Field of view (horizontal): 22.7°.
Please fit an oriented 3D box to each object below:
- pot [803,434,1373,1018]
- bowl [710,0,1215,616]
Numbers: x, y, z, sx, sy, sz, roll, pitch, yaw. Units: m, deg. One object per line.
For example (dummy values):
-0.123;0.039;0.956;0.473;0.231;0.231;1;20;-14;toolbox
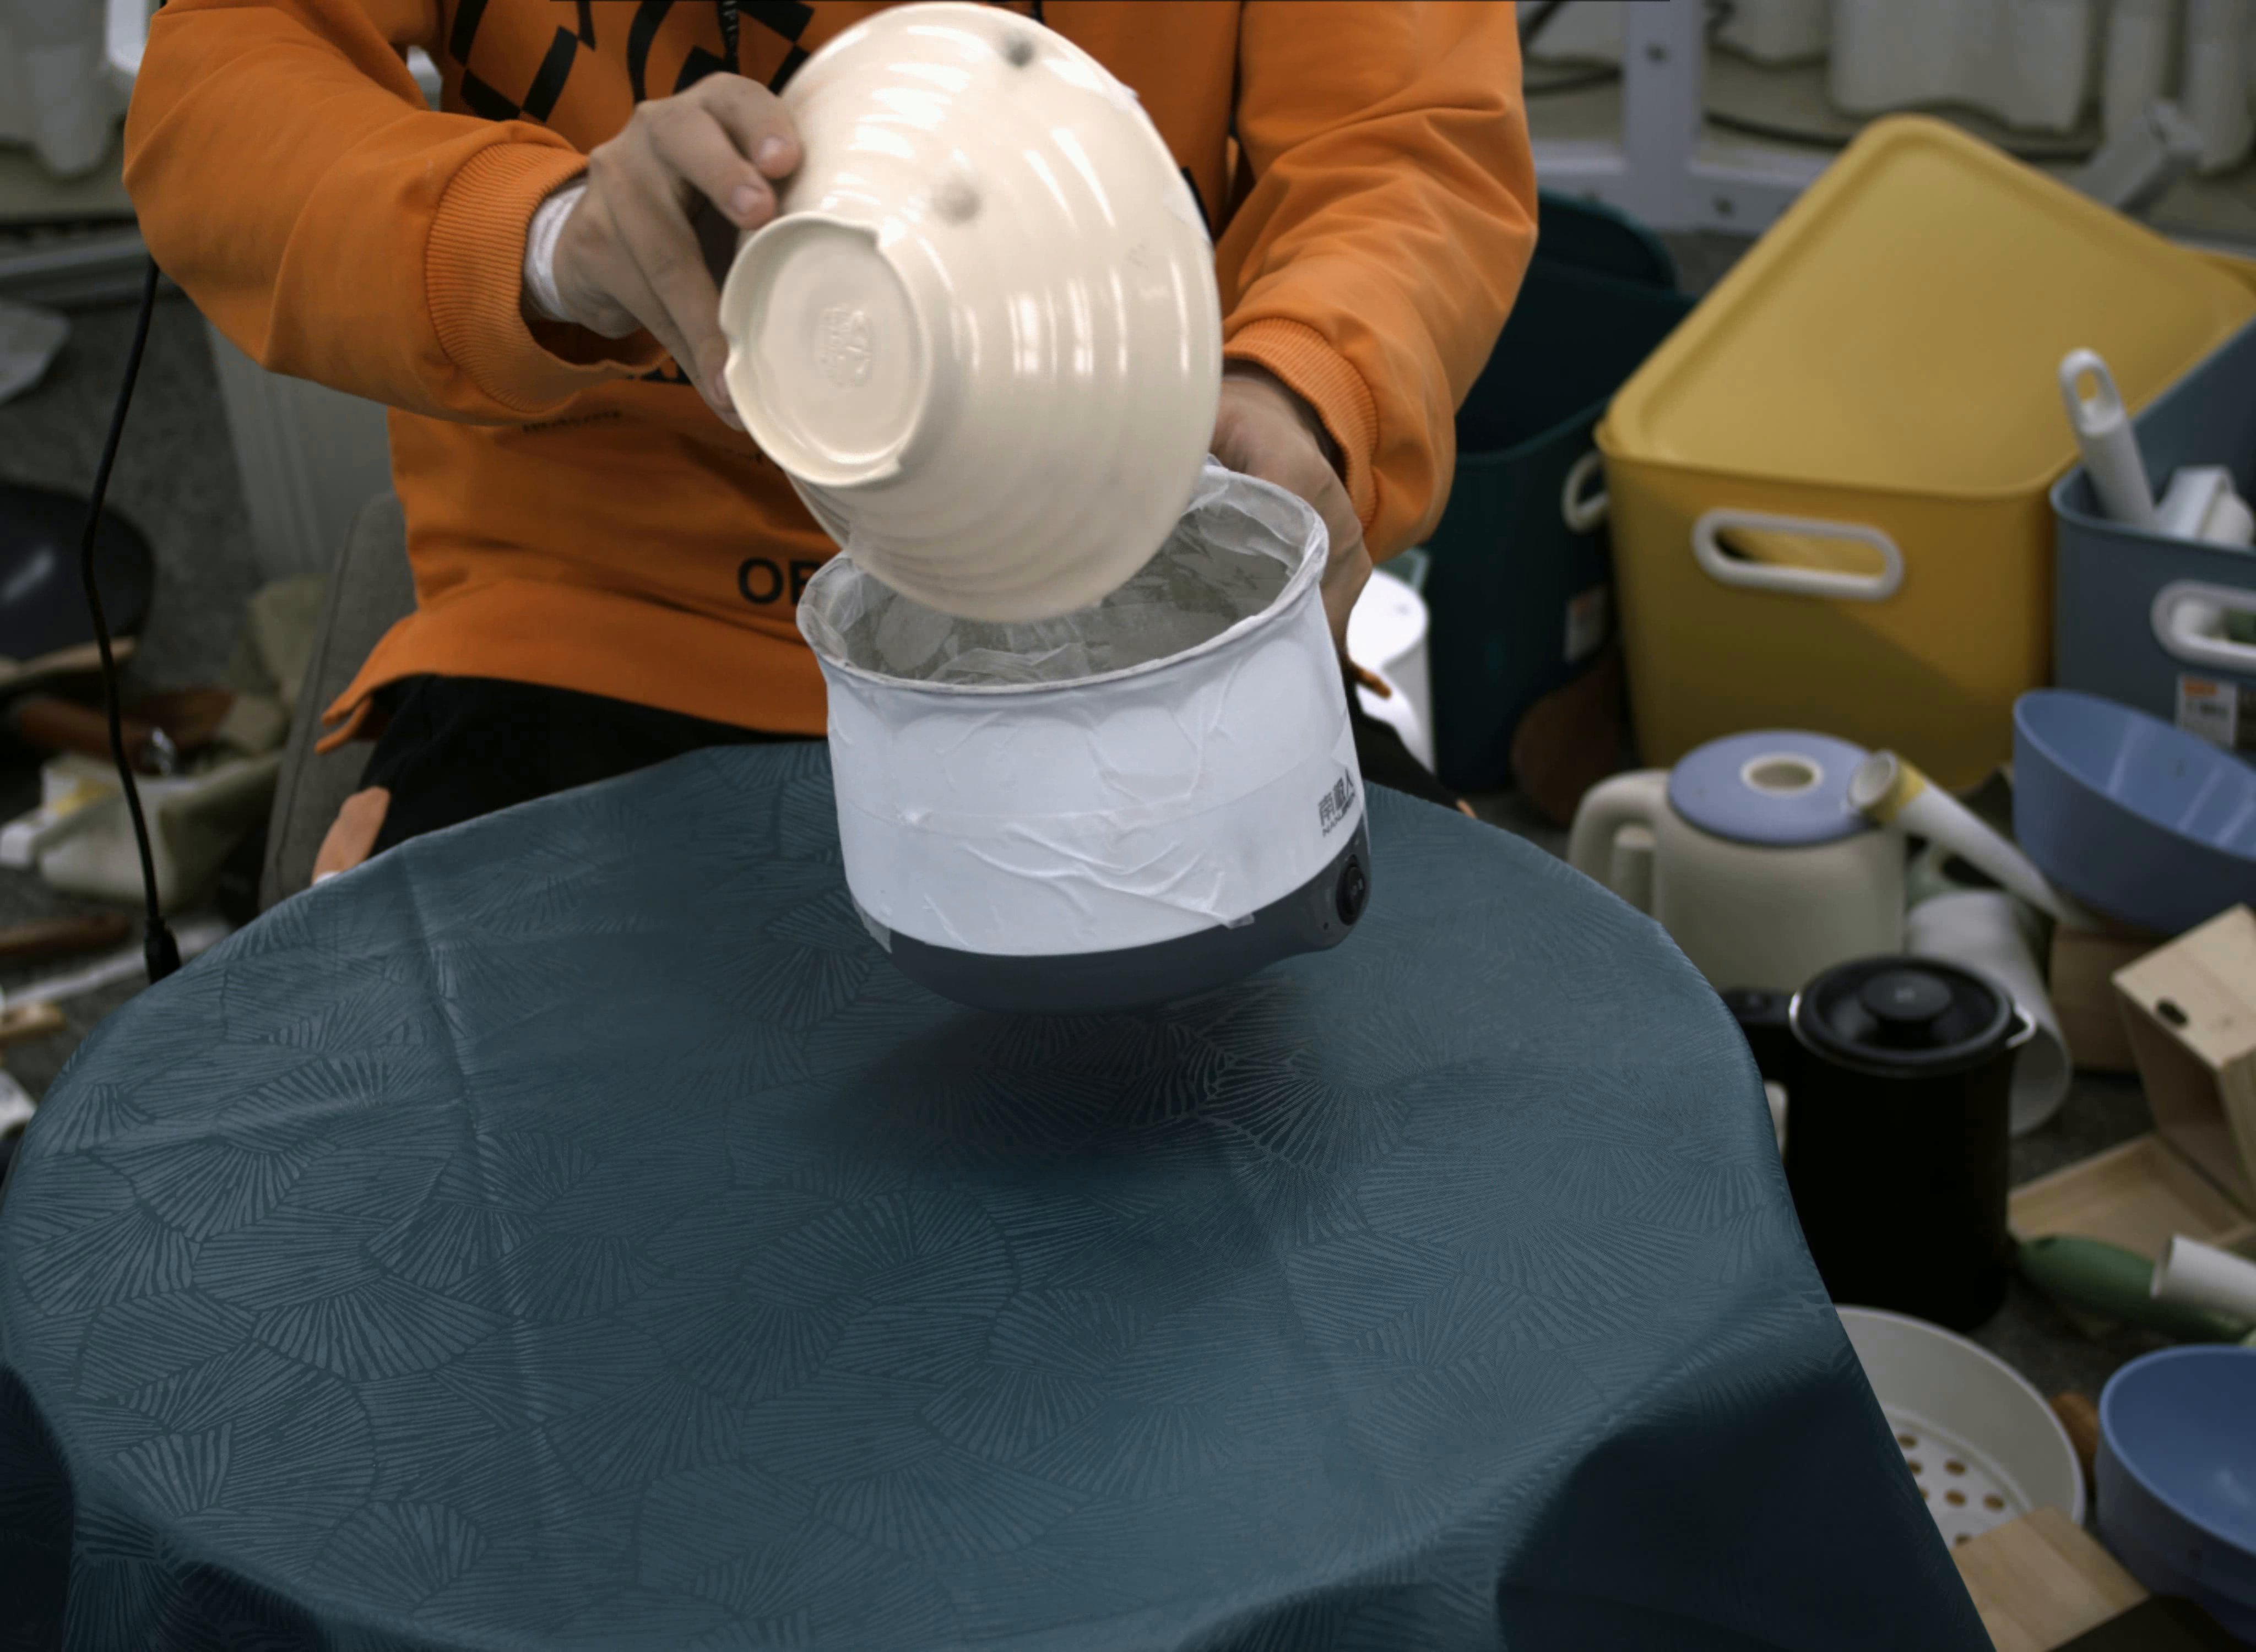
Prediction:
-0.002;-0.041;1.899;0.177;0.135;0.238;3;28;22;pot
-0.075;-0.160;1.792;0.203;0.202;0.079;16;21;32;bowl
